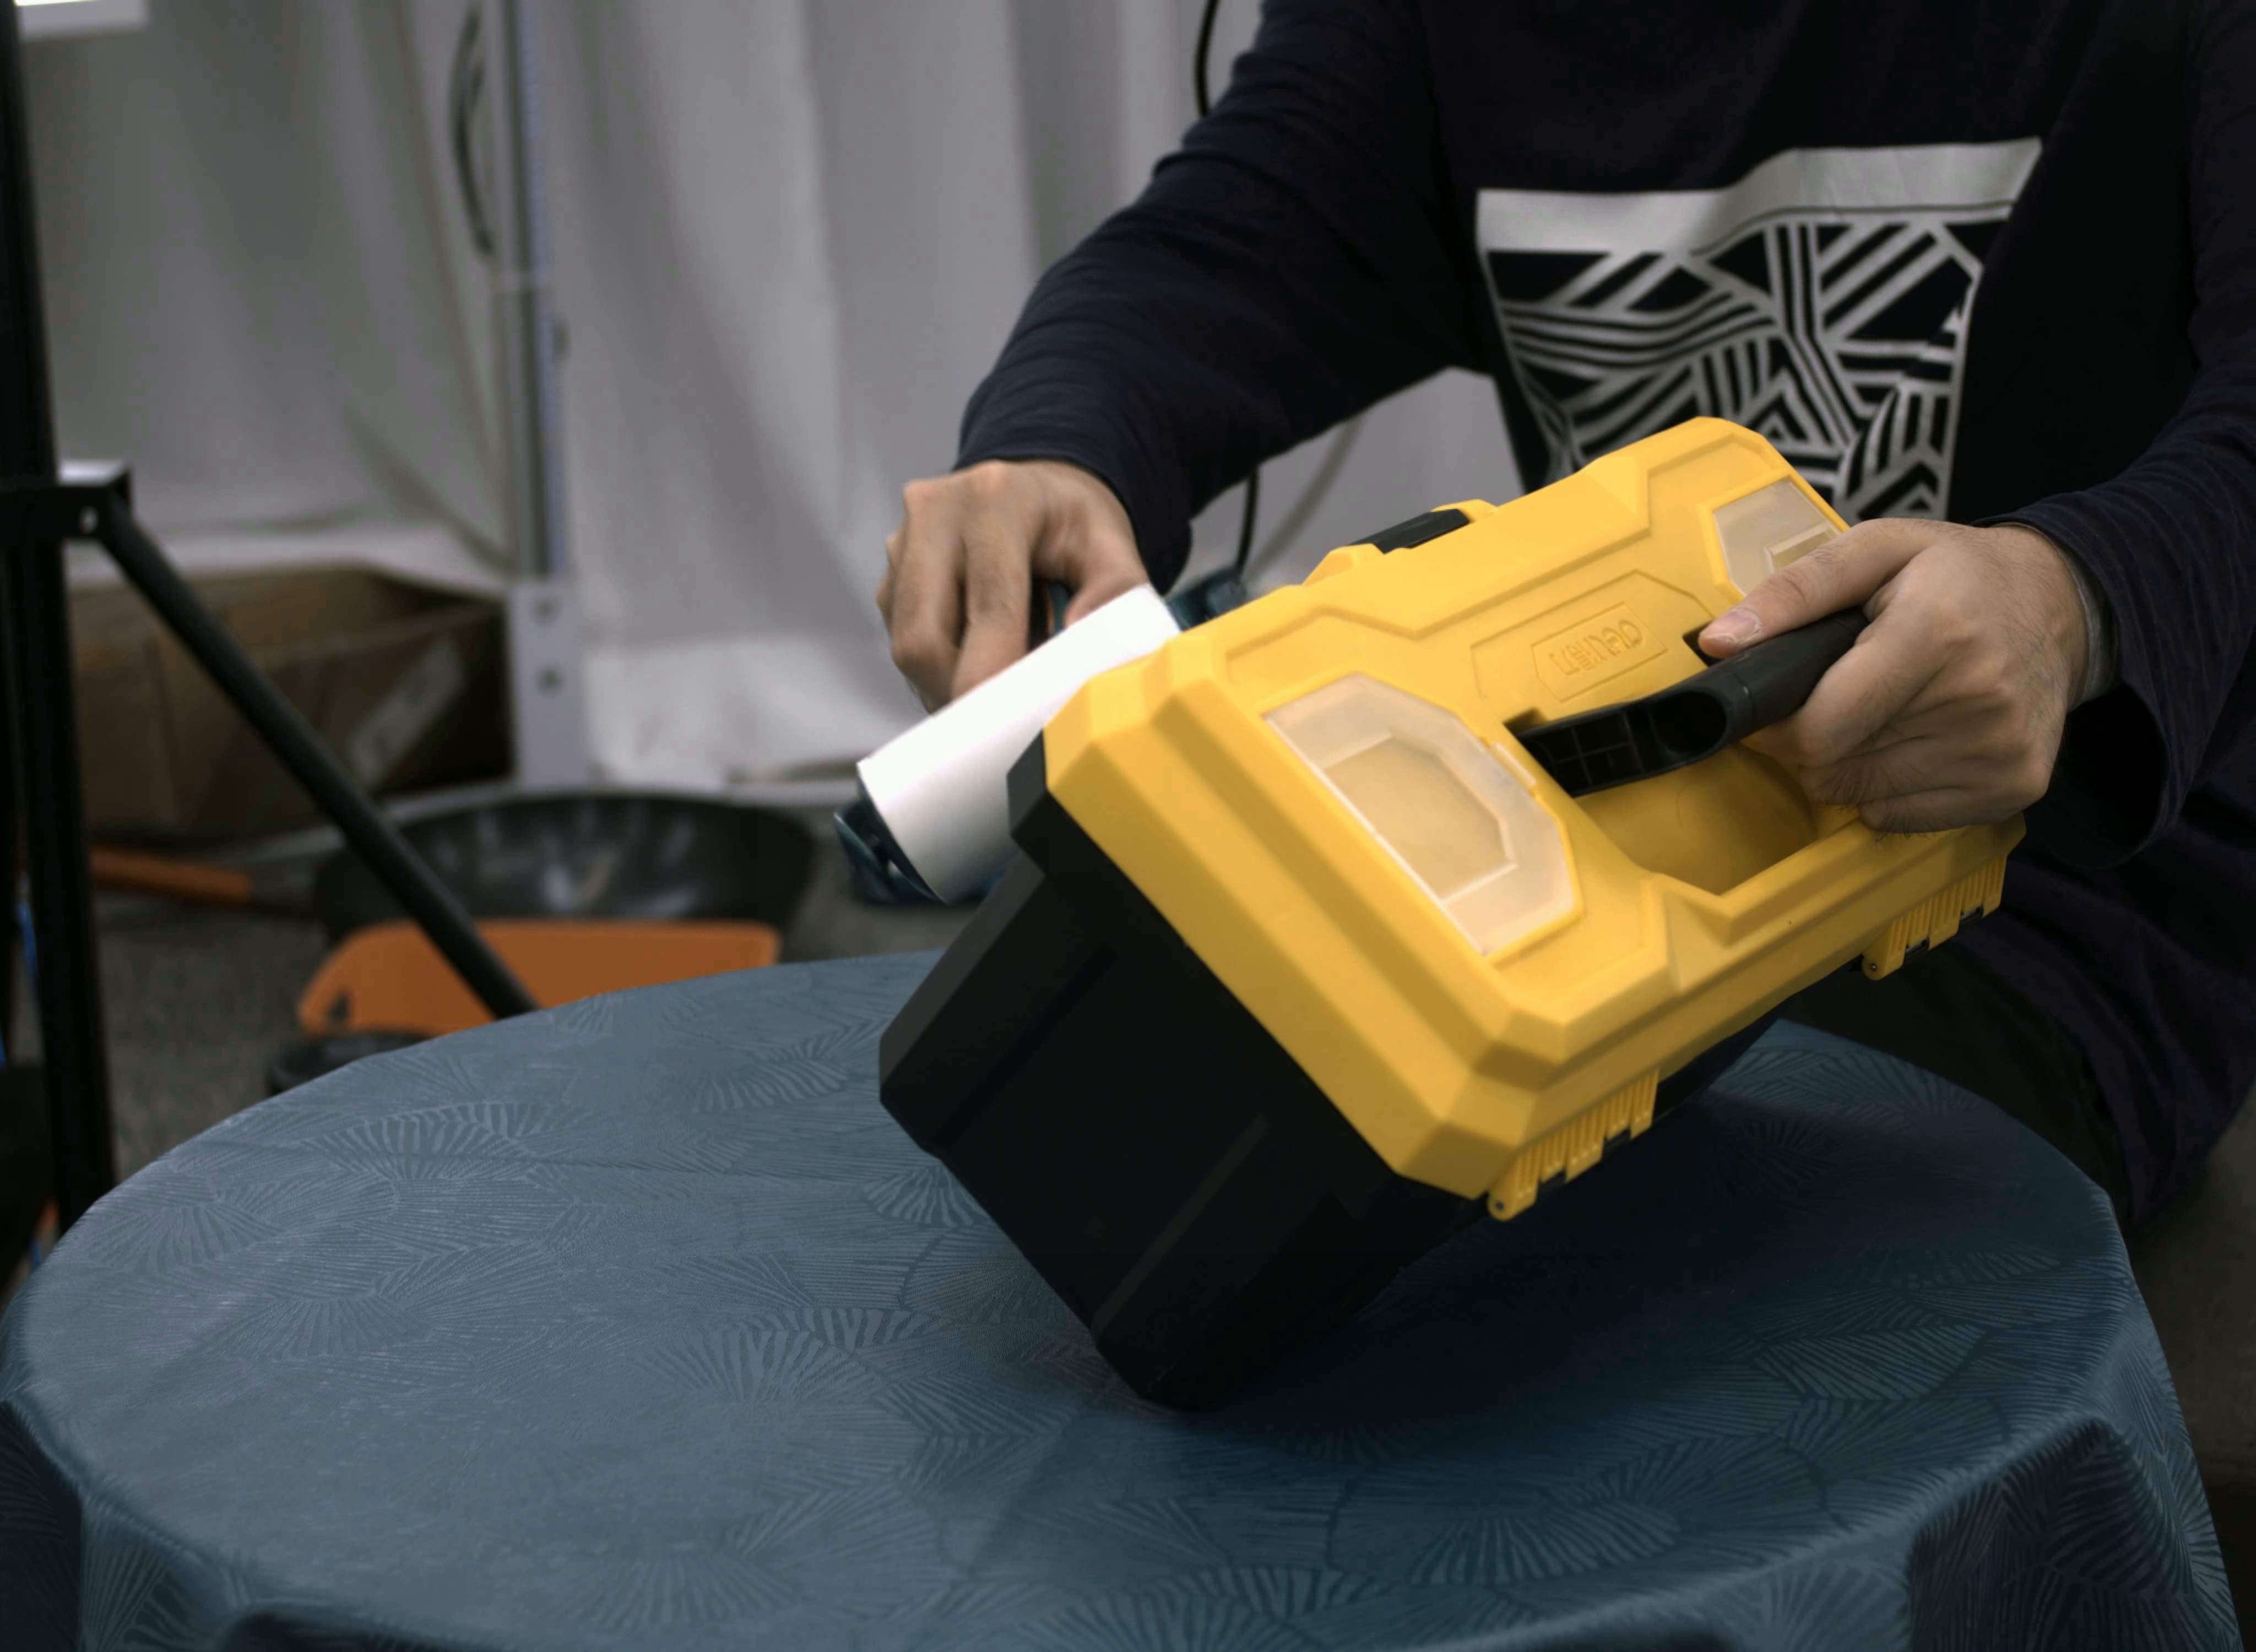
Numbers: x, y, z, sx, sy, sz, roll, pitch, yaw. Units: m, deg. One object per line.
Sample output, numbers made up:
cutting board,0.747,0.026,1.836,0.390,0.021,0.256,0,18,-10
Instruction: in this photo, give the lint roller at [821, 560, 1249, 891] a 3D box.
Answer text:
lint roller,-0.034,-0.051,1.564,0.134,0.048,0.182,-34,21,6

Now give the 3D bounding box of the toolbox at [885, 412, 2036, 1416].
toolbox,0.095,0.018,1.478,0.183,0.174,0.345,48,34,13
